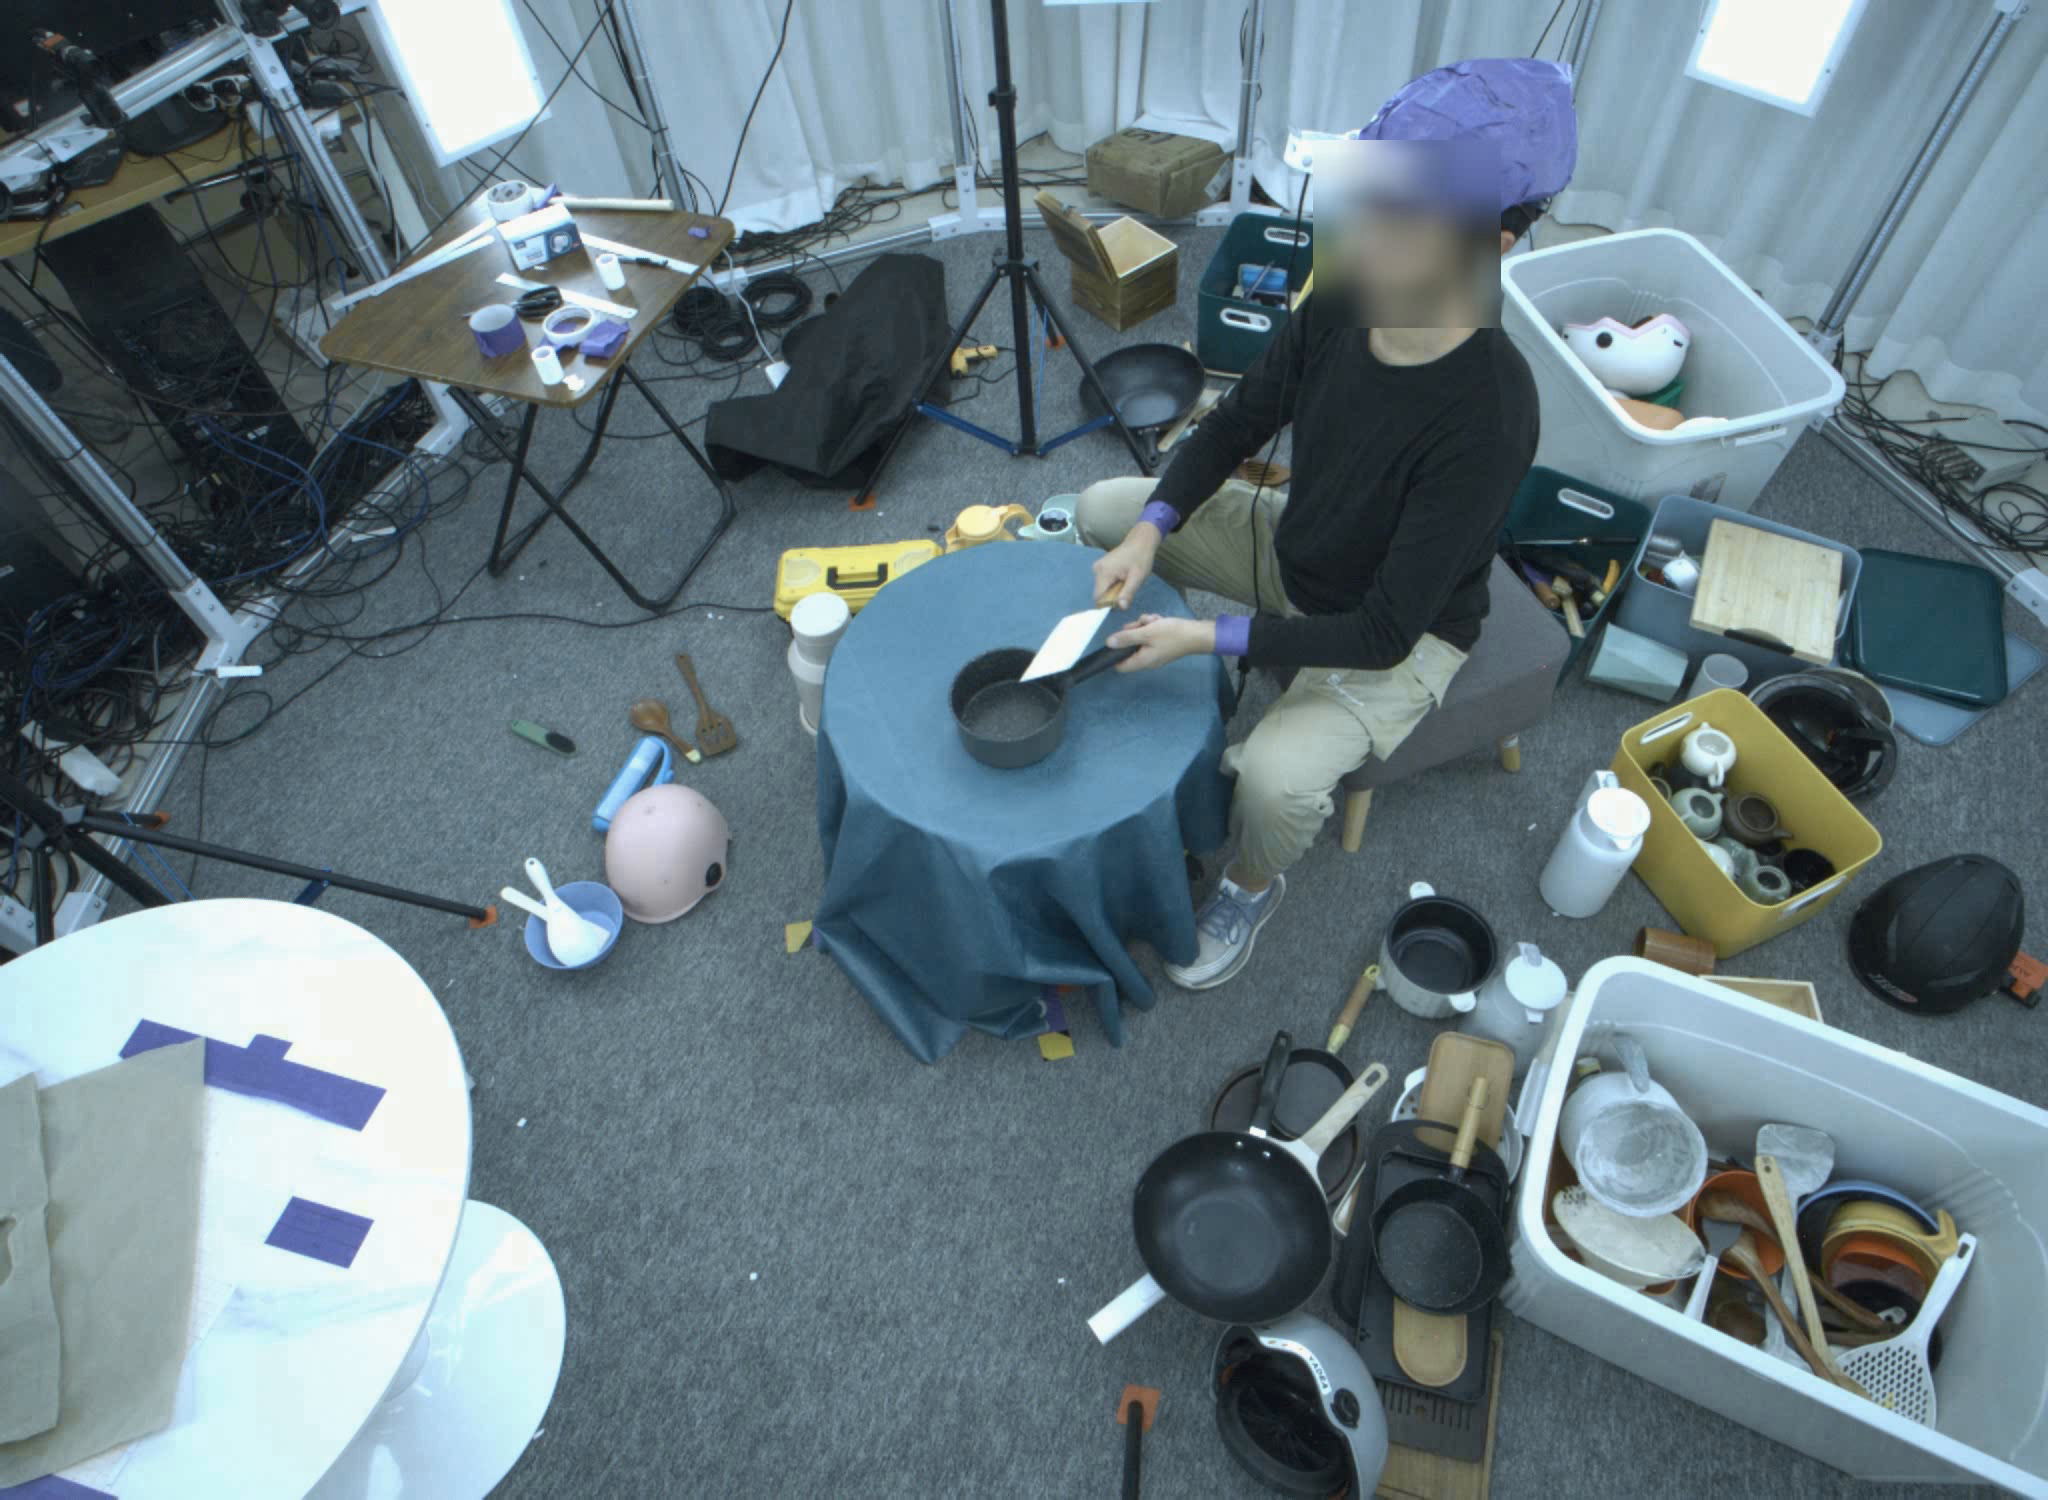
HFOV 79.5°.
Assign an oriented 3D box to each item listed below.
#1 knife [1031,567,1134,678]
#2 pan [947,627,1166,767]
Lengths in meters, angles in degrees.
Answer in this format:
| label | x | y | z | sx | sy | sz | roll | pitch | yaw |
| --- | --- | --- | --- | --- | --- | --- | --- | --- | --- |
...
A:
| label | x | y | z | sx | sy | sz | roll | pitch | yaw |
| --- | --- | --- | --- | --- | --- | --- | --- | --- | --- |
| knife | 0.085 | -0.187 | 1.800 | 0.091 | 0.021 | 0.306 | -13 | 27 | 31 |
| pan | 0.052 | -0.090 | 1.788 | 0.330 | 0.087 | 0.169 | -21 | 57 | -9 |
